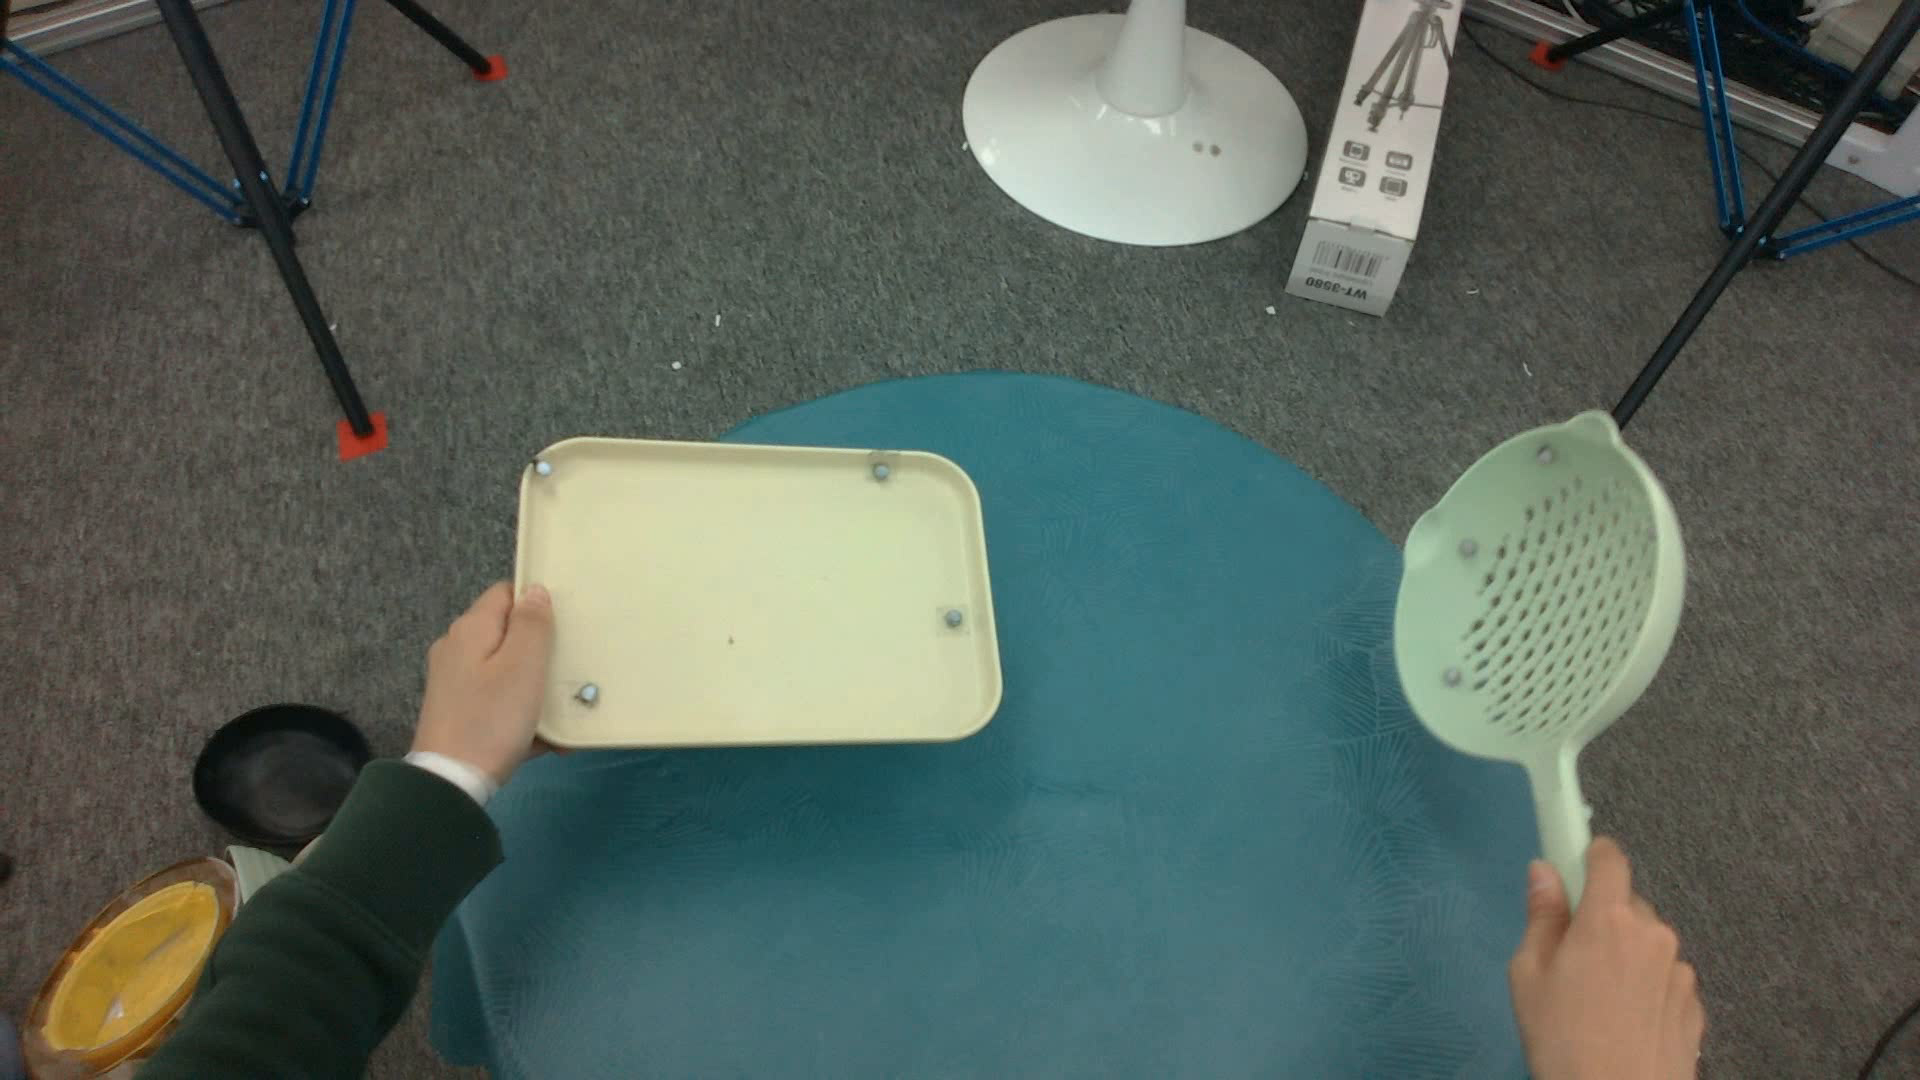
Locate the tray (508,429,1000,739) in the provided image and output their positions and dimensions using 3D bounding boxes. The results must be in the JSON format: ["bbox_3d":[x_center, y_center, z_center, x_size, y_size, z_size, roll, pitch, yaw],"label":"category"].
[{"bbox_3d":[-0.103,0.020,0.703,0.240,0.017,0.172,1,61,-14],"label":"tray"}]

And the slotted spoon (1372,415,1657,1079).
[{"bbox_3d":[0.281,0.110,0.659,0.075,0.168,0.360,23,53,-18],"label":"slotted spoon"}]
